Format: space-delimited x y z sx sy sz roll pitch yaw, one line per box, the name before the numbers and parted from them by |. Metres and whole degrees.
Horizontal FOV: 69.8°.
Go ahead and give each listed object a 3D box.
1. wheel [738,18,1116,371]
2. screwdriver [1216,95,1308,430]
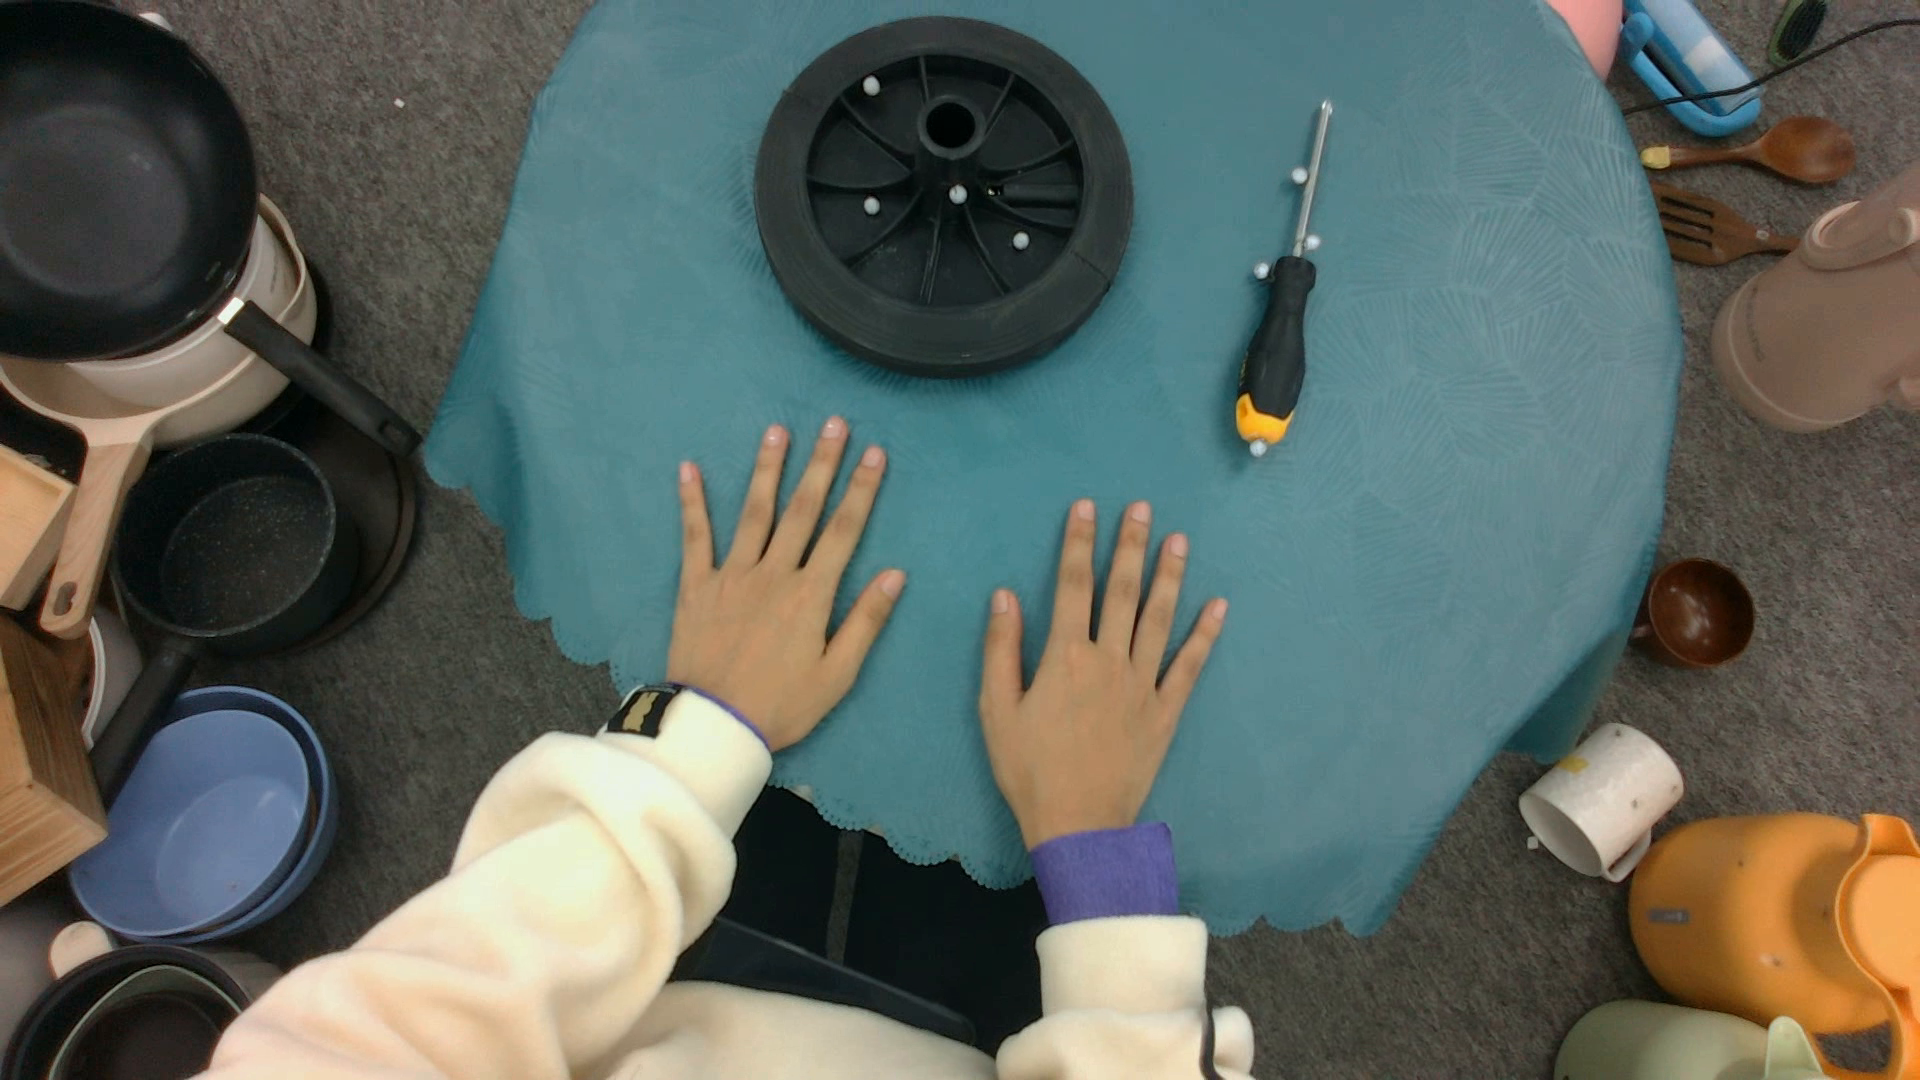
wheel | -0.014 -0.181 0.669 0.190 0.079 0.187 -23 78 -11
screwdriver | 0.156 -0.147 0.698 0.031 0.031 0.197 12 73 0
